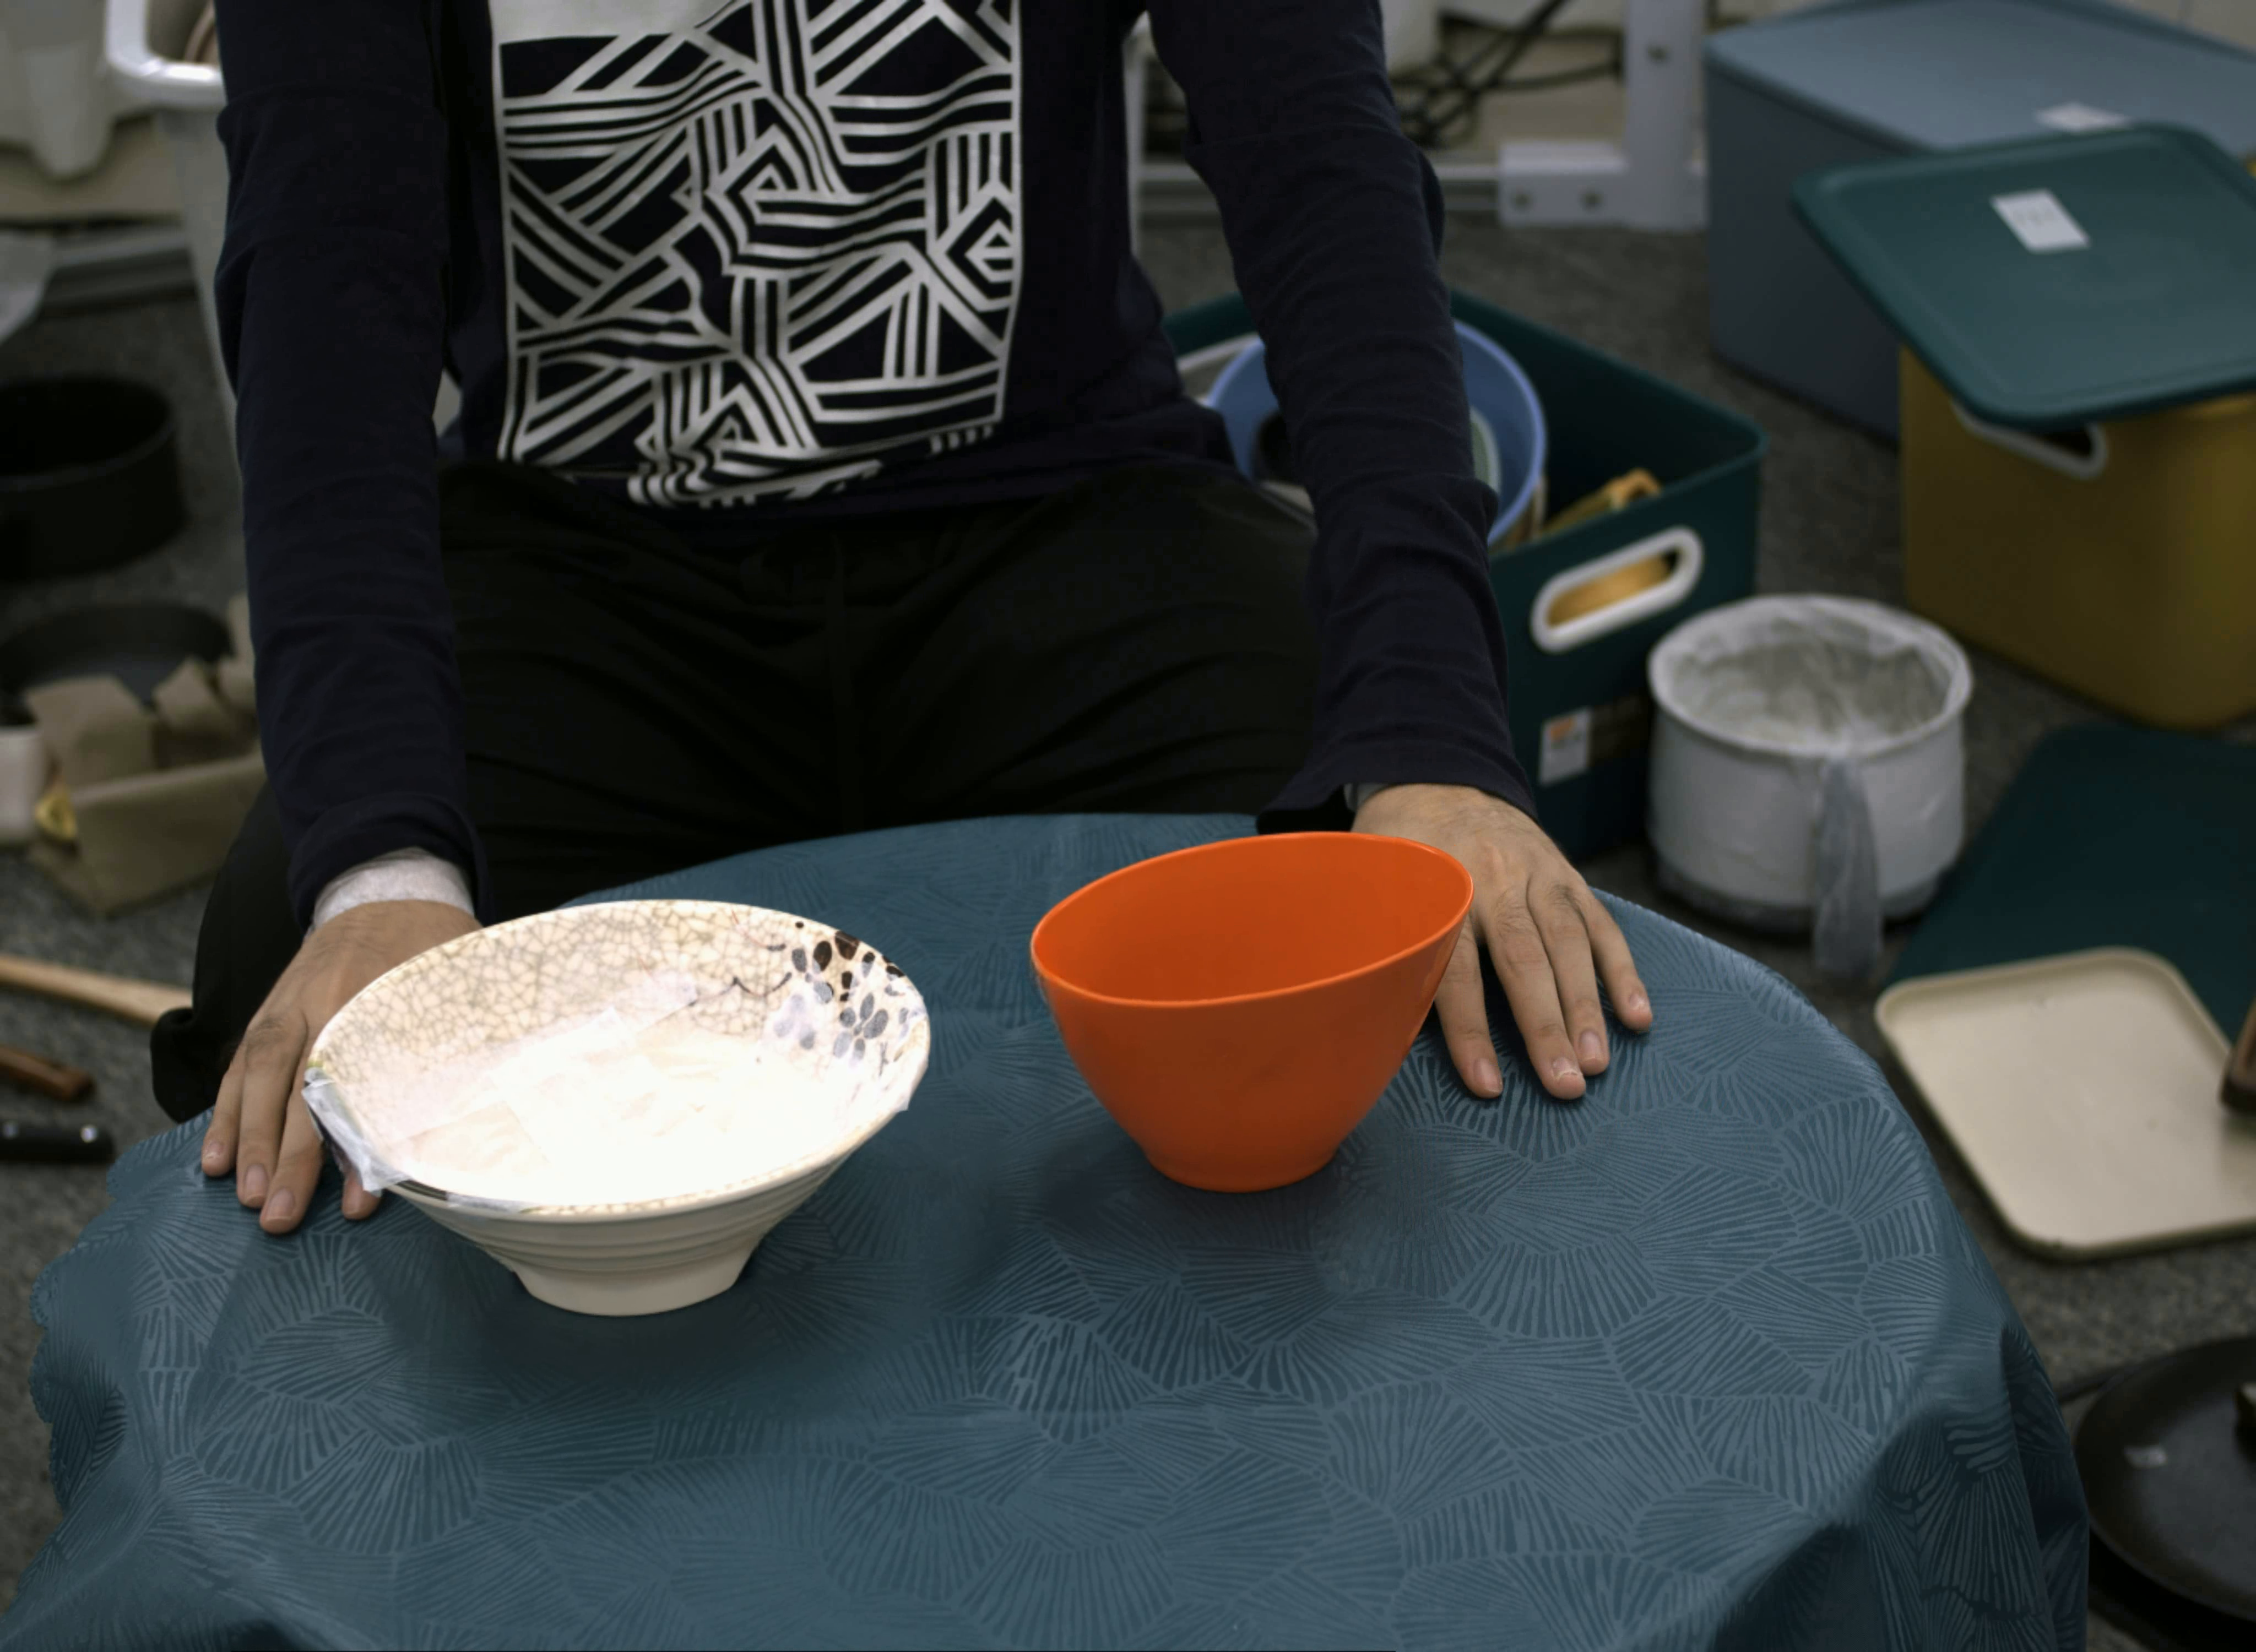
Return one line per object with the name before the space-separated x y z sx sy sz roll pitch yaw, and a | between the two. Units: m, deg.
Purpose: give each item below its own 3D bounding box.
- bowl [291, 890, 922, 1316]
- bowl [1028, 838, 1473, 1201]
bowl | -0.167 0.104 1.825 0.203 0.077 0.207 -1 28 1
bowl | 0.042 0.067 1.857 0.147 0.103 0.150 -3 25 2
